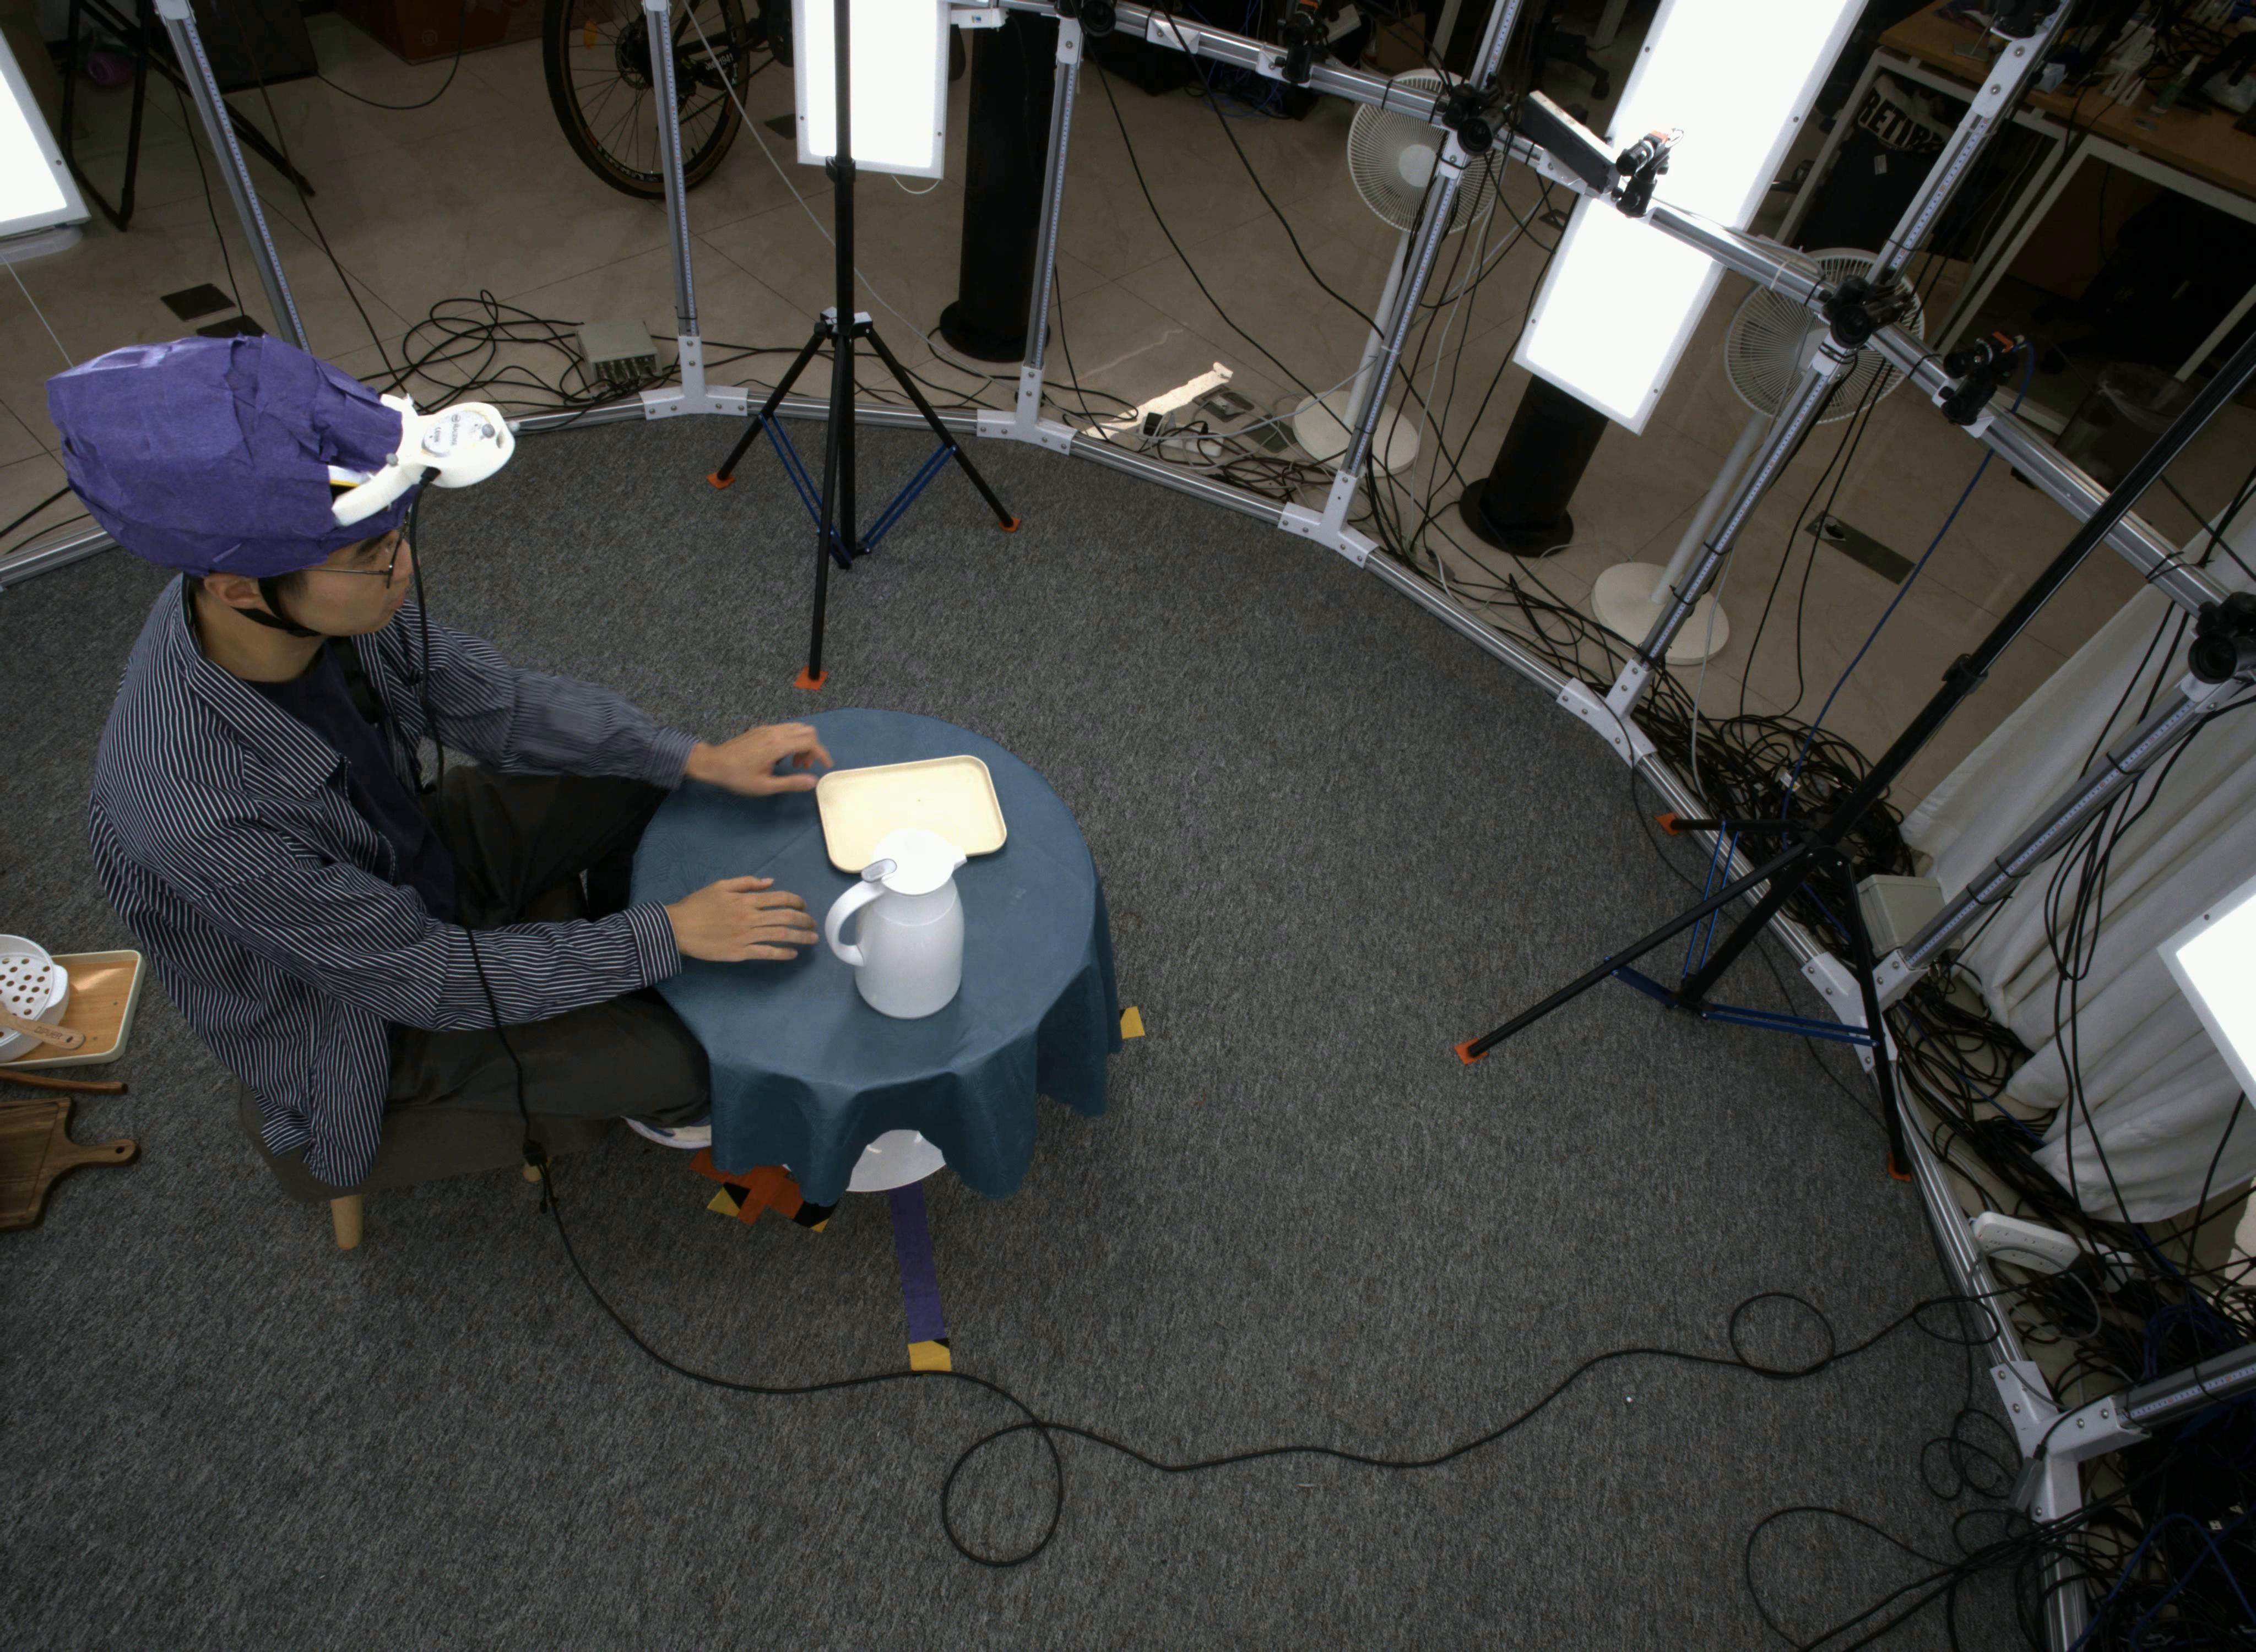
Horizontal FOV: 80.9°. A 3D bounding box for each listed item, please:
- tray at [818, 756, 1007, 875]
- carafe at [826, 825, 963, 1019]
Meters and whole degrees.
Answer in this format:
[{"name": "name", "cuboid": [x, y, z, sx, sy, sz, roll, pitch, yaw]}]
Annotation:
[{"name": "tray", "cuboid": [-0.294, -0.016, 1.773, 0.240, 0.018, 0.167, -9, 56, -19]}, {"name": "carafe", "cuboid": [-0.274, 0.114, 1.530, 0.168, 0.254, 0.129, -25, 62, -26]}]
